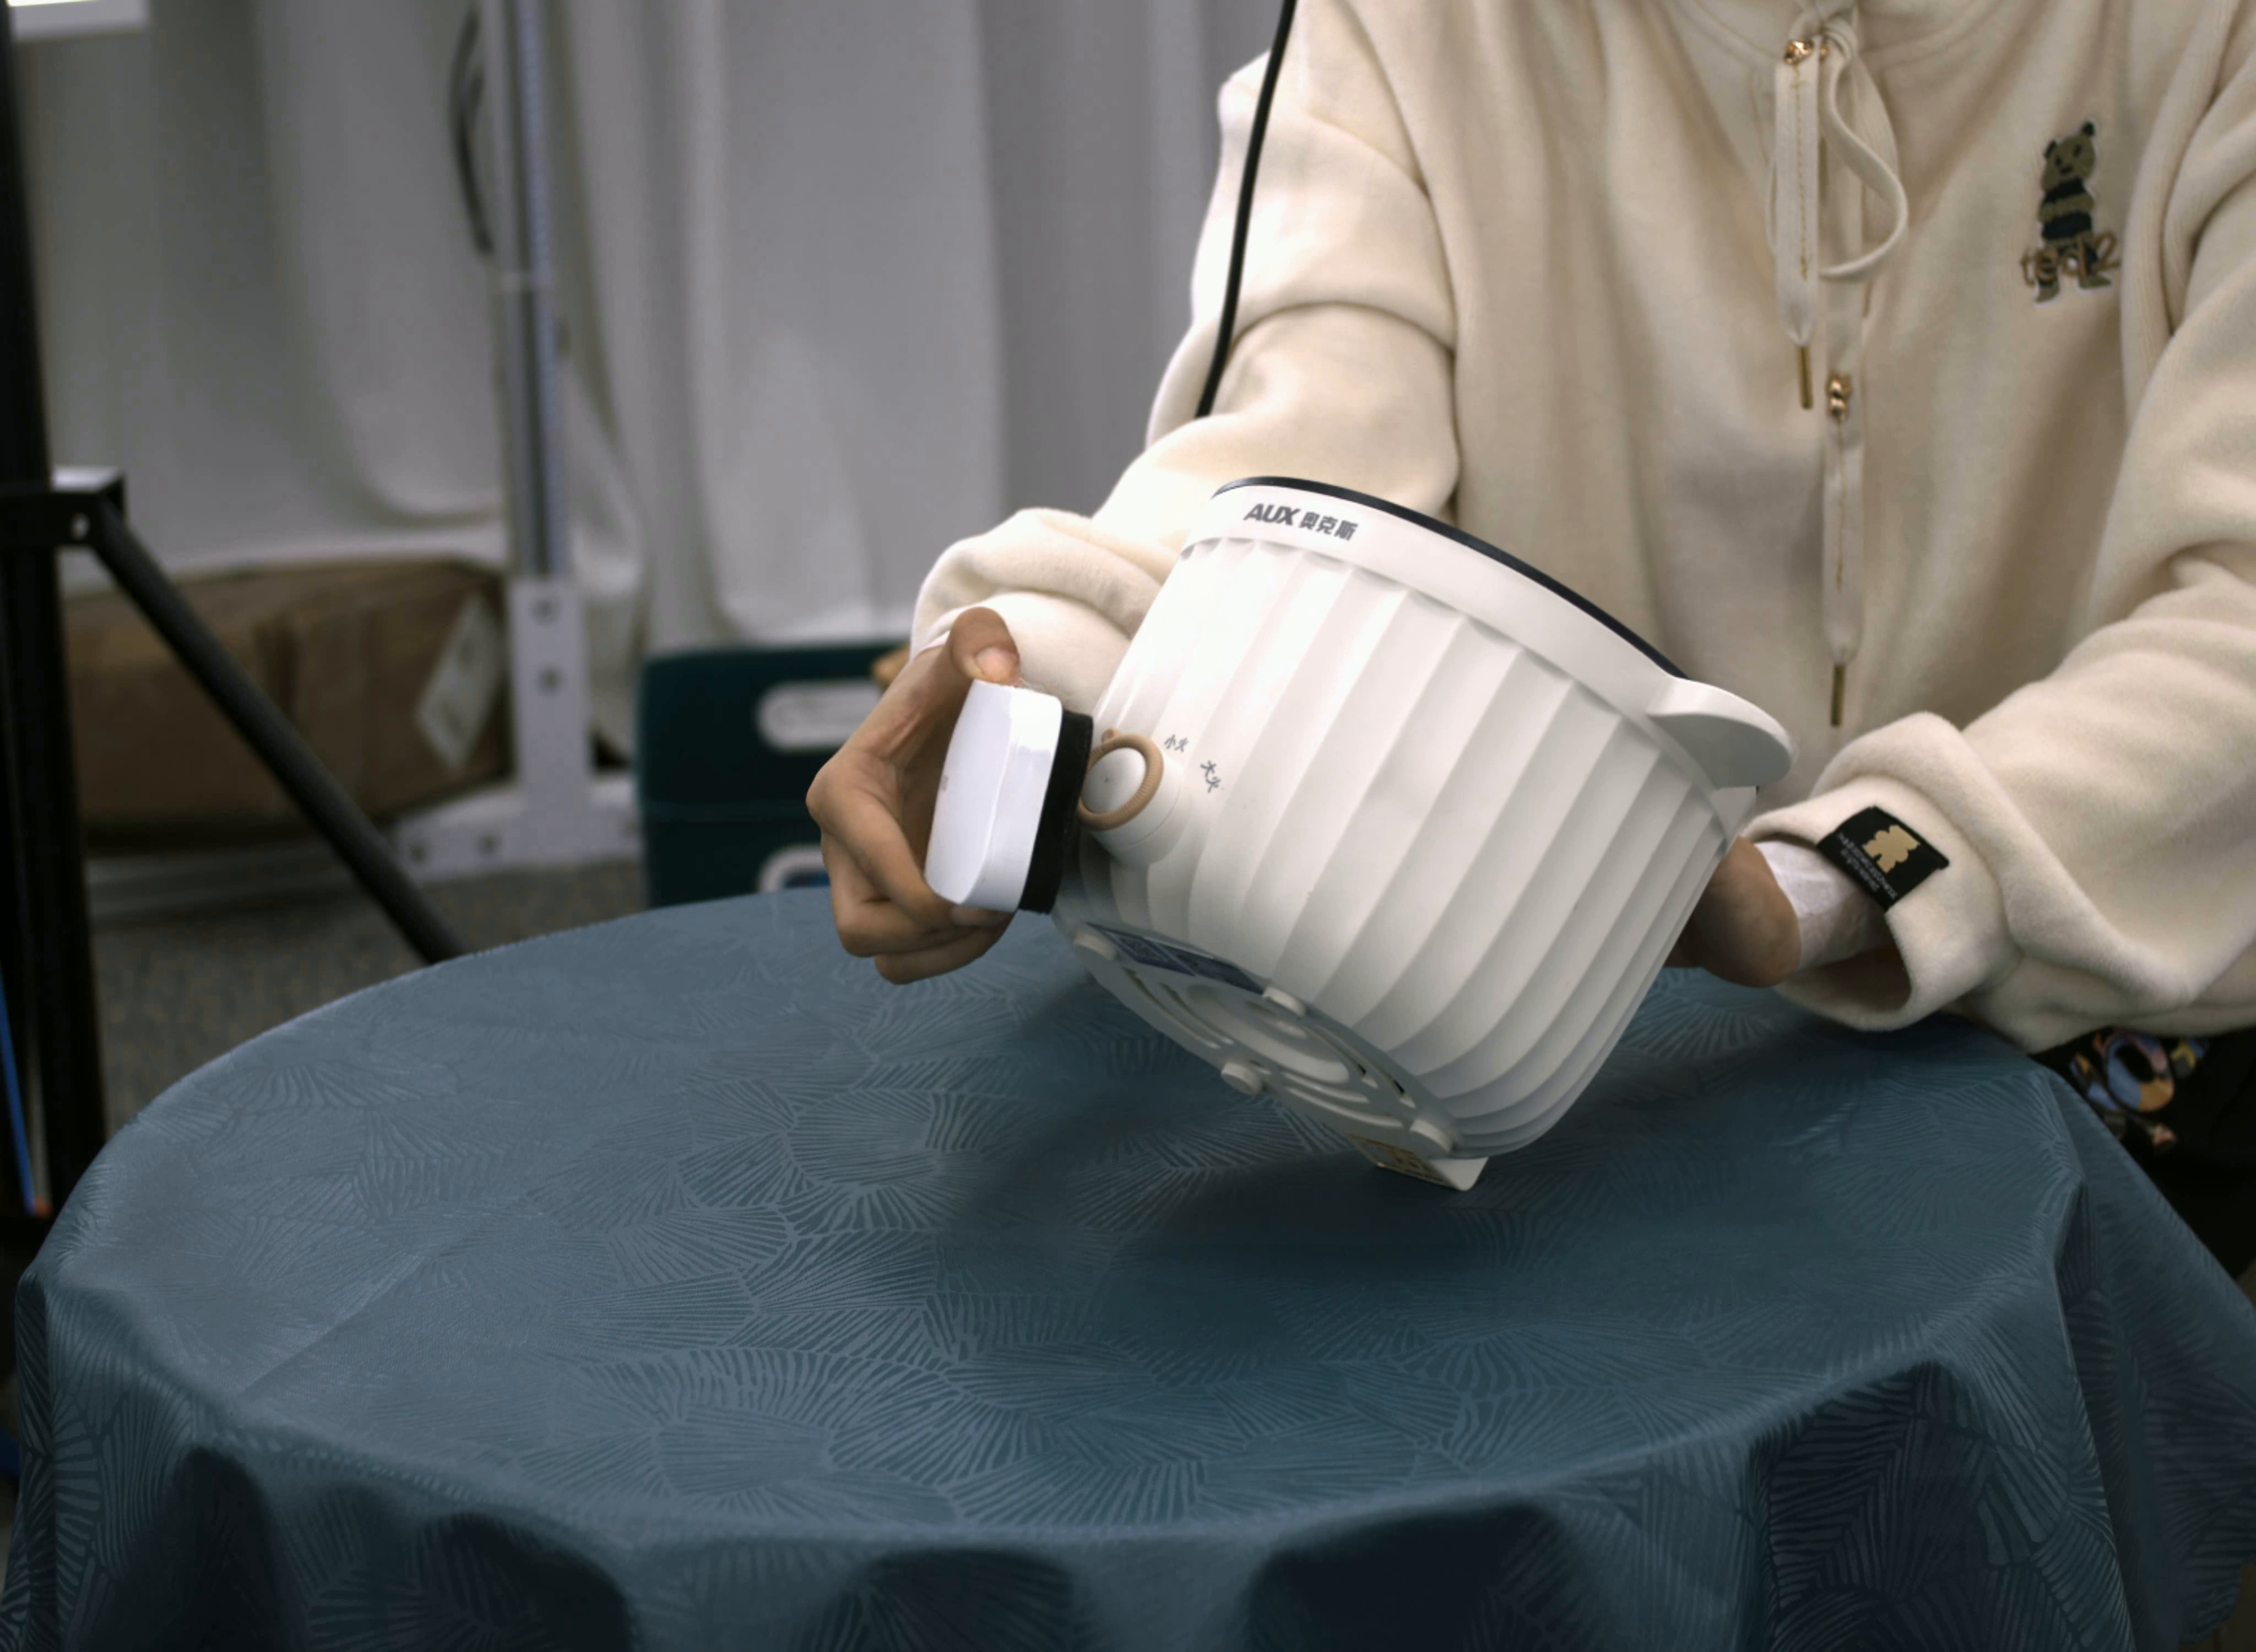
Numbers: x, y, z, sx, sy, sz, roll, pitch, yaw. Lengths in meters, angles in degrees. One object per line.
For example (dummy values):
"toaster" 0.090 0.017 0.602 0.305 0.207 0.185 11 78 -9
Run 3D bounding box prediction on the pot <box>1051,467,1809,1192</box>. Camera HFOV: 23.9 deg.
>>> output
"pot" 0.069 0.003 1.515 0.246 0.186 0.142 14 65 45

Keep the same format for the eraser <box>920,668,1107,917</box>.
"eraser" -0.034 -0.009 1.486 0.034 0.063 0.132 16 0 -7
